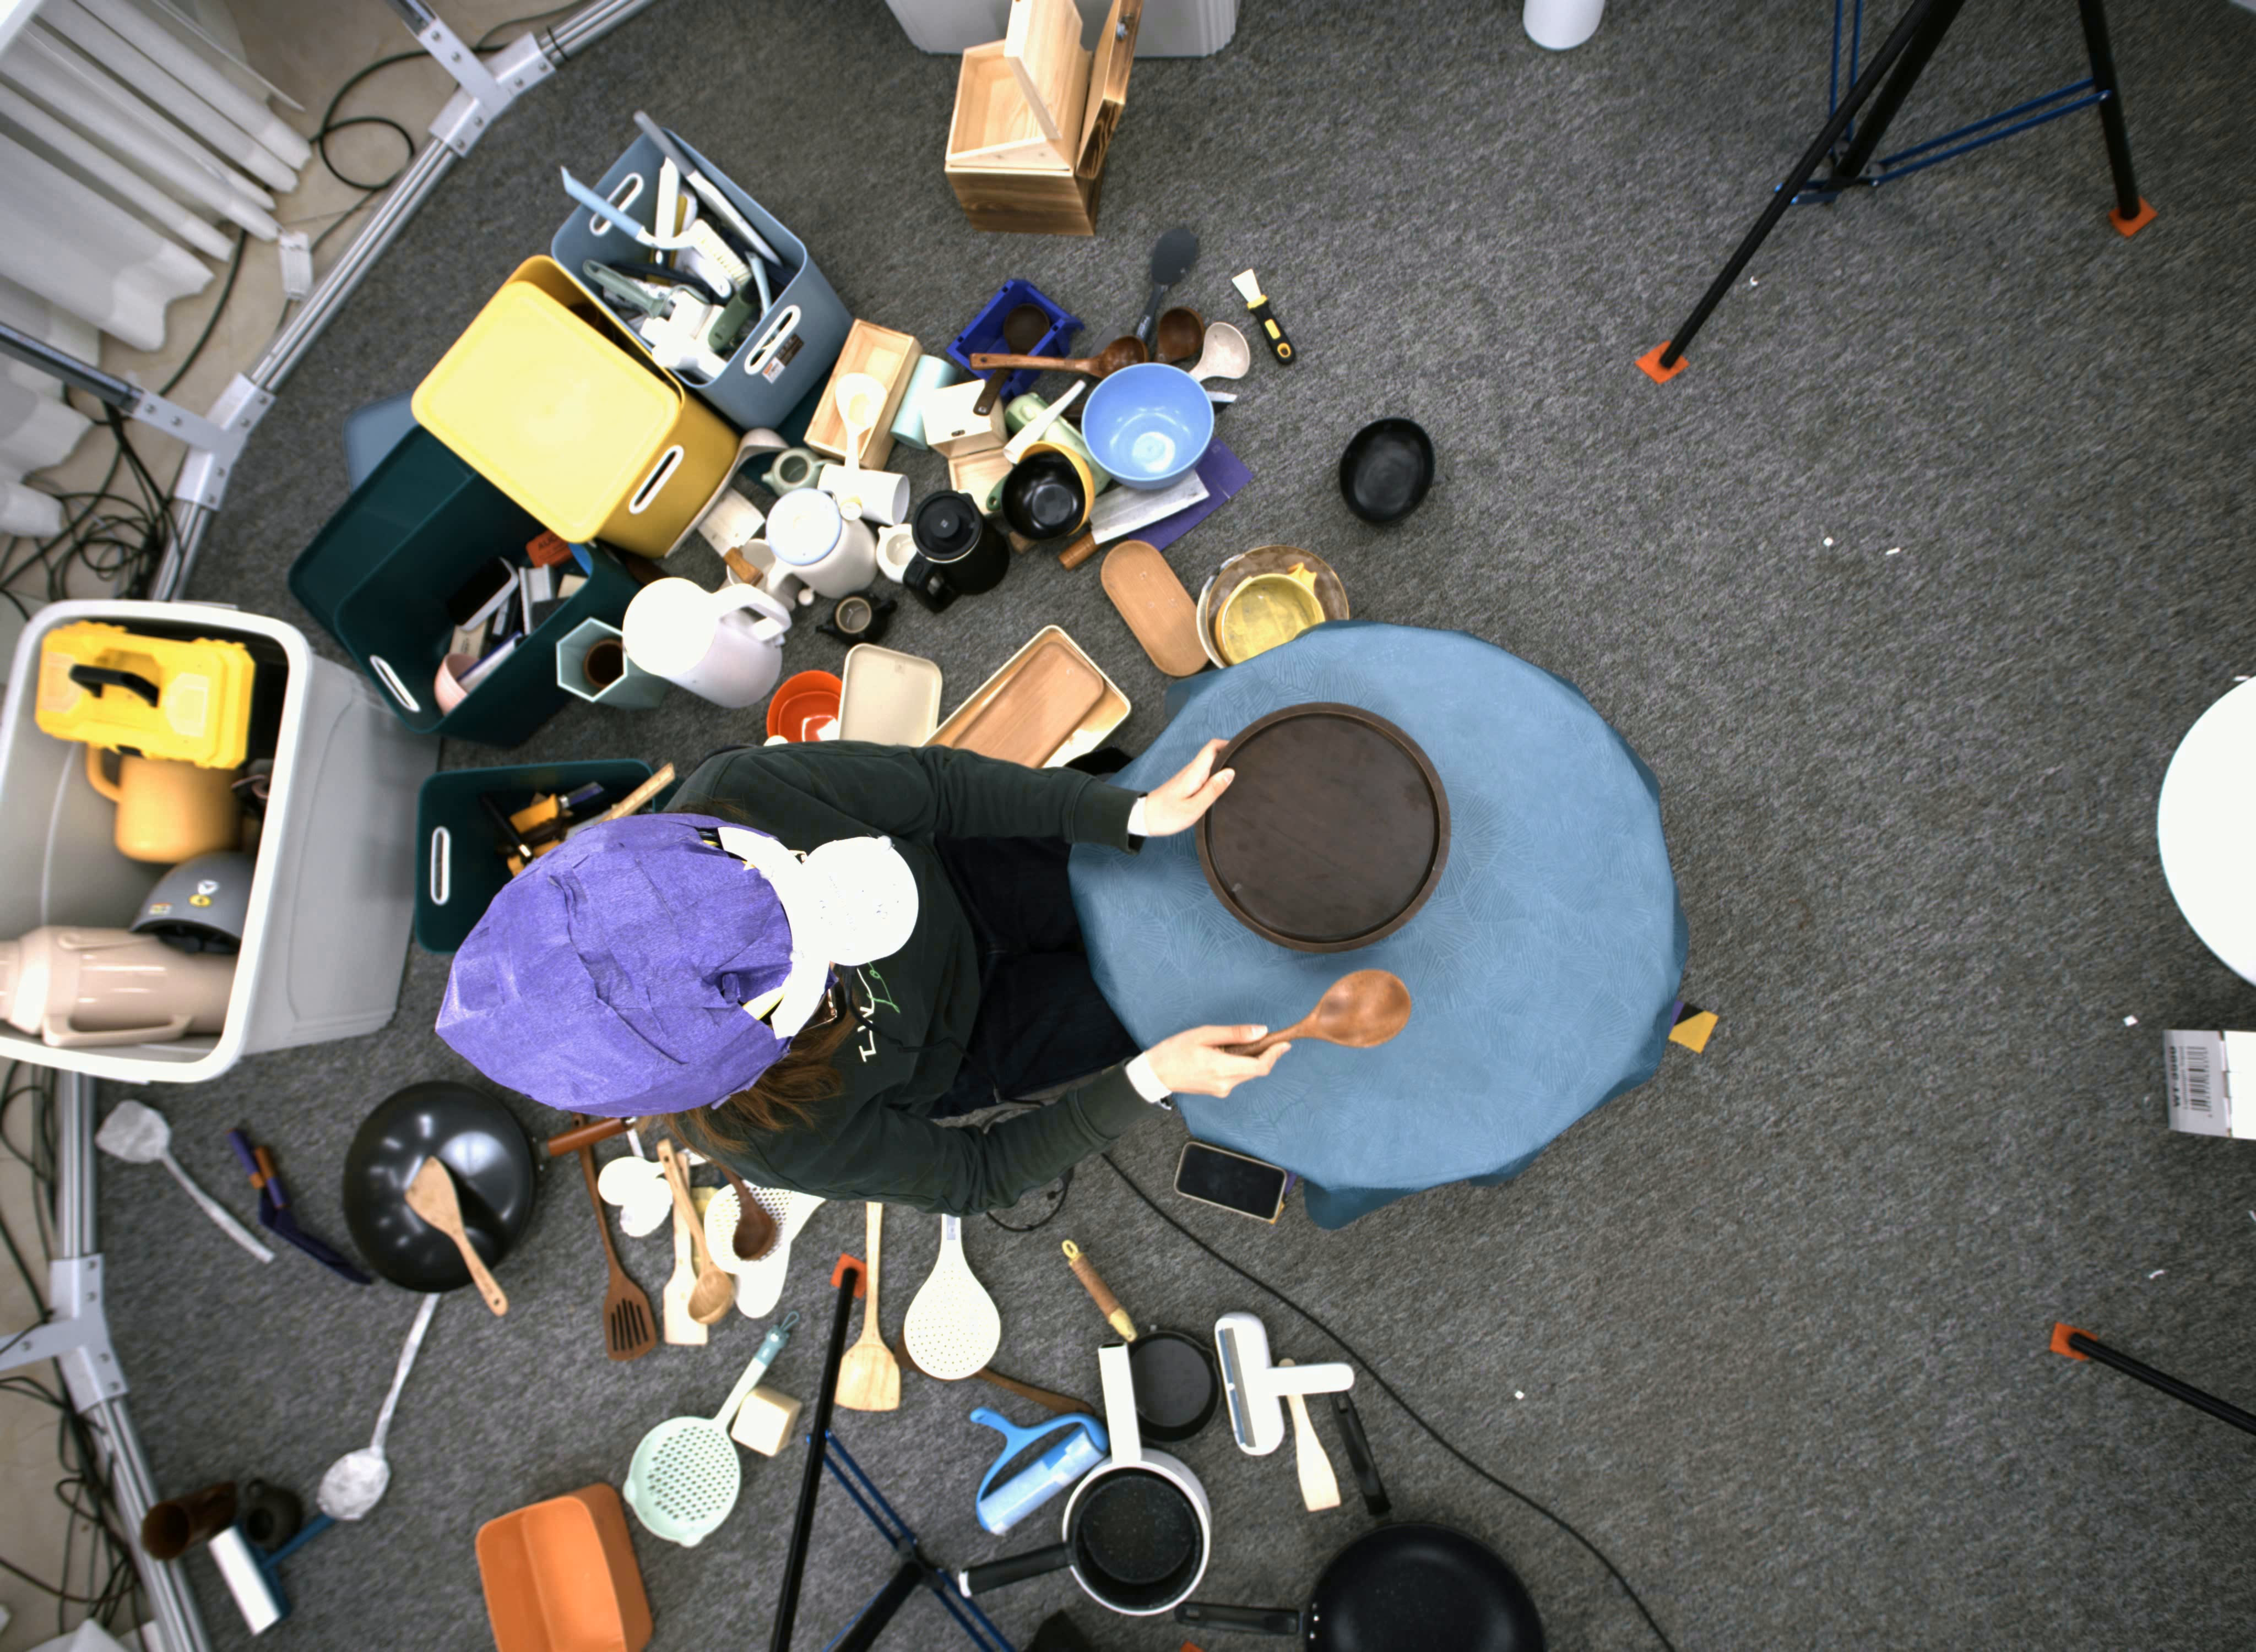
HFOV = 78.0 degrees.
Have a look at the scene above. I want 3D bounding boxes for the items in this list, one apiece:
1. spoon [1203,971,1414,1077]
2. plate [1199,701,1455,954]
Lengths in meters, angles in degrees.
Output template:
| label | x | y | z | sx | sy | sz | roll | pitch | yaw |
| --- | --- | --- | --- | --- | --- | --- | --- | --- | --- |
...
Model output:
| label | x | y | z | sx | sy | sz | roll | pitch | yaw |
| --- | --- | --- | --- | --- | --- | --- | --- | --- | --- |
| spoon | 0.174 | 0.200 | 1.350 | 0.217 | 0.017 | 0.074 | -21 | 73 | 13 |
| plate | 0.197 | 0.002 | 1.380 | 0.255 | 0.029 | 0.257 | 2 | 100 | 9 |
